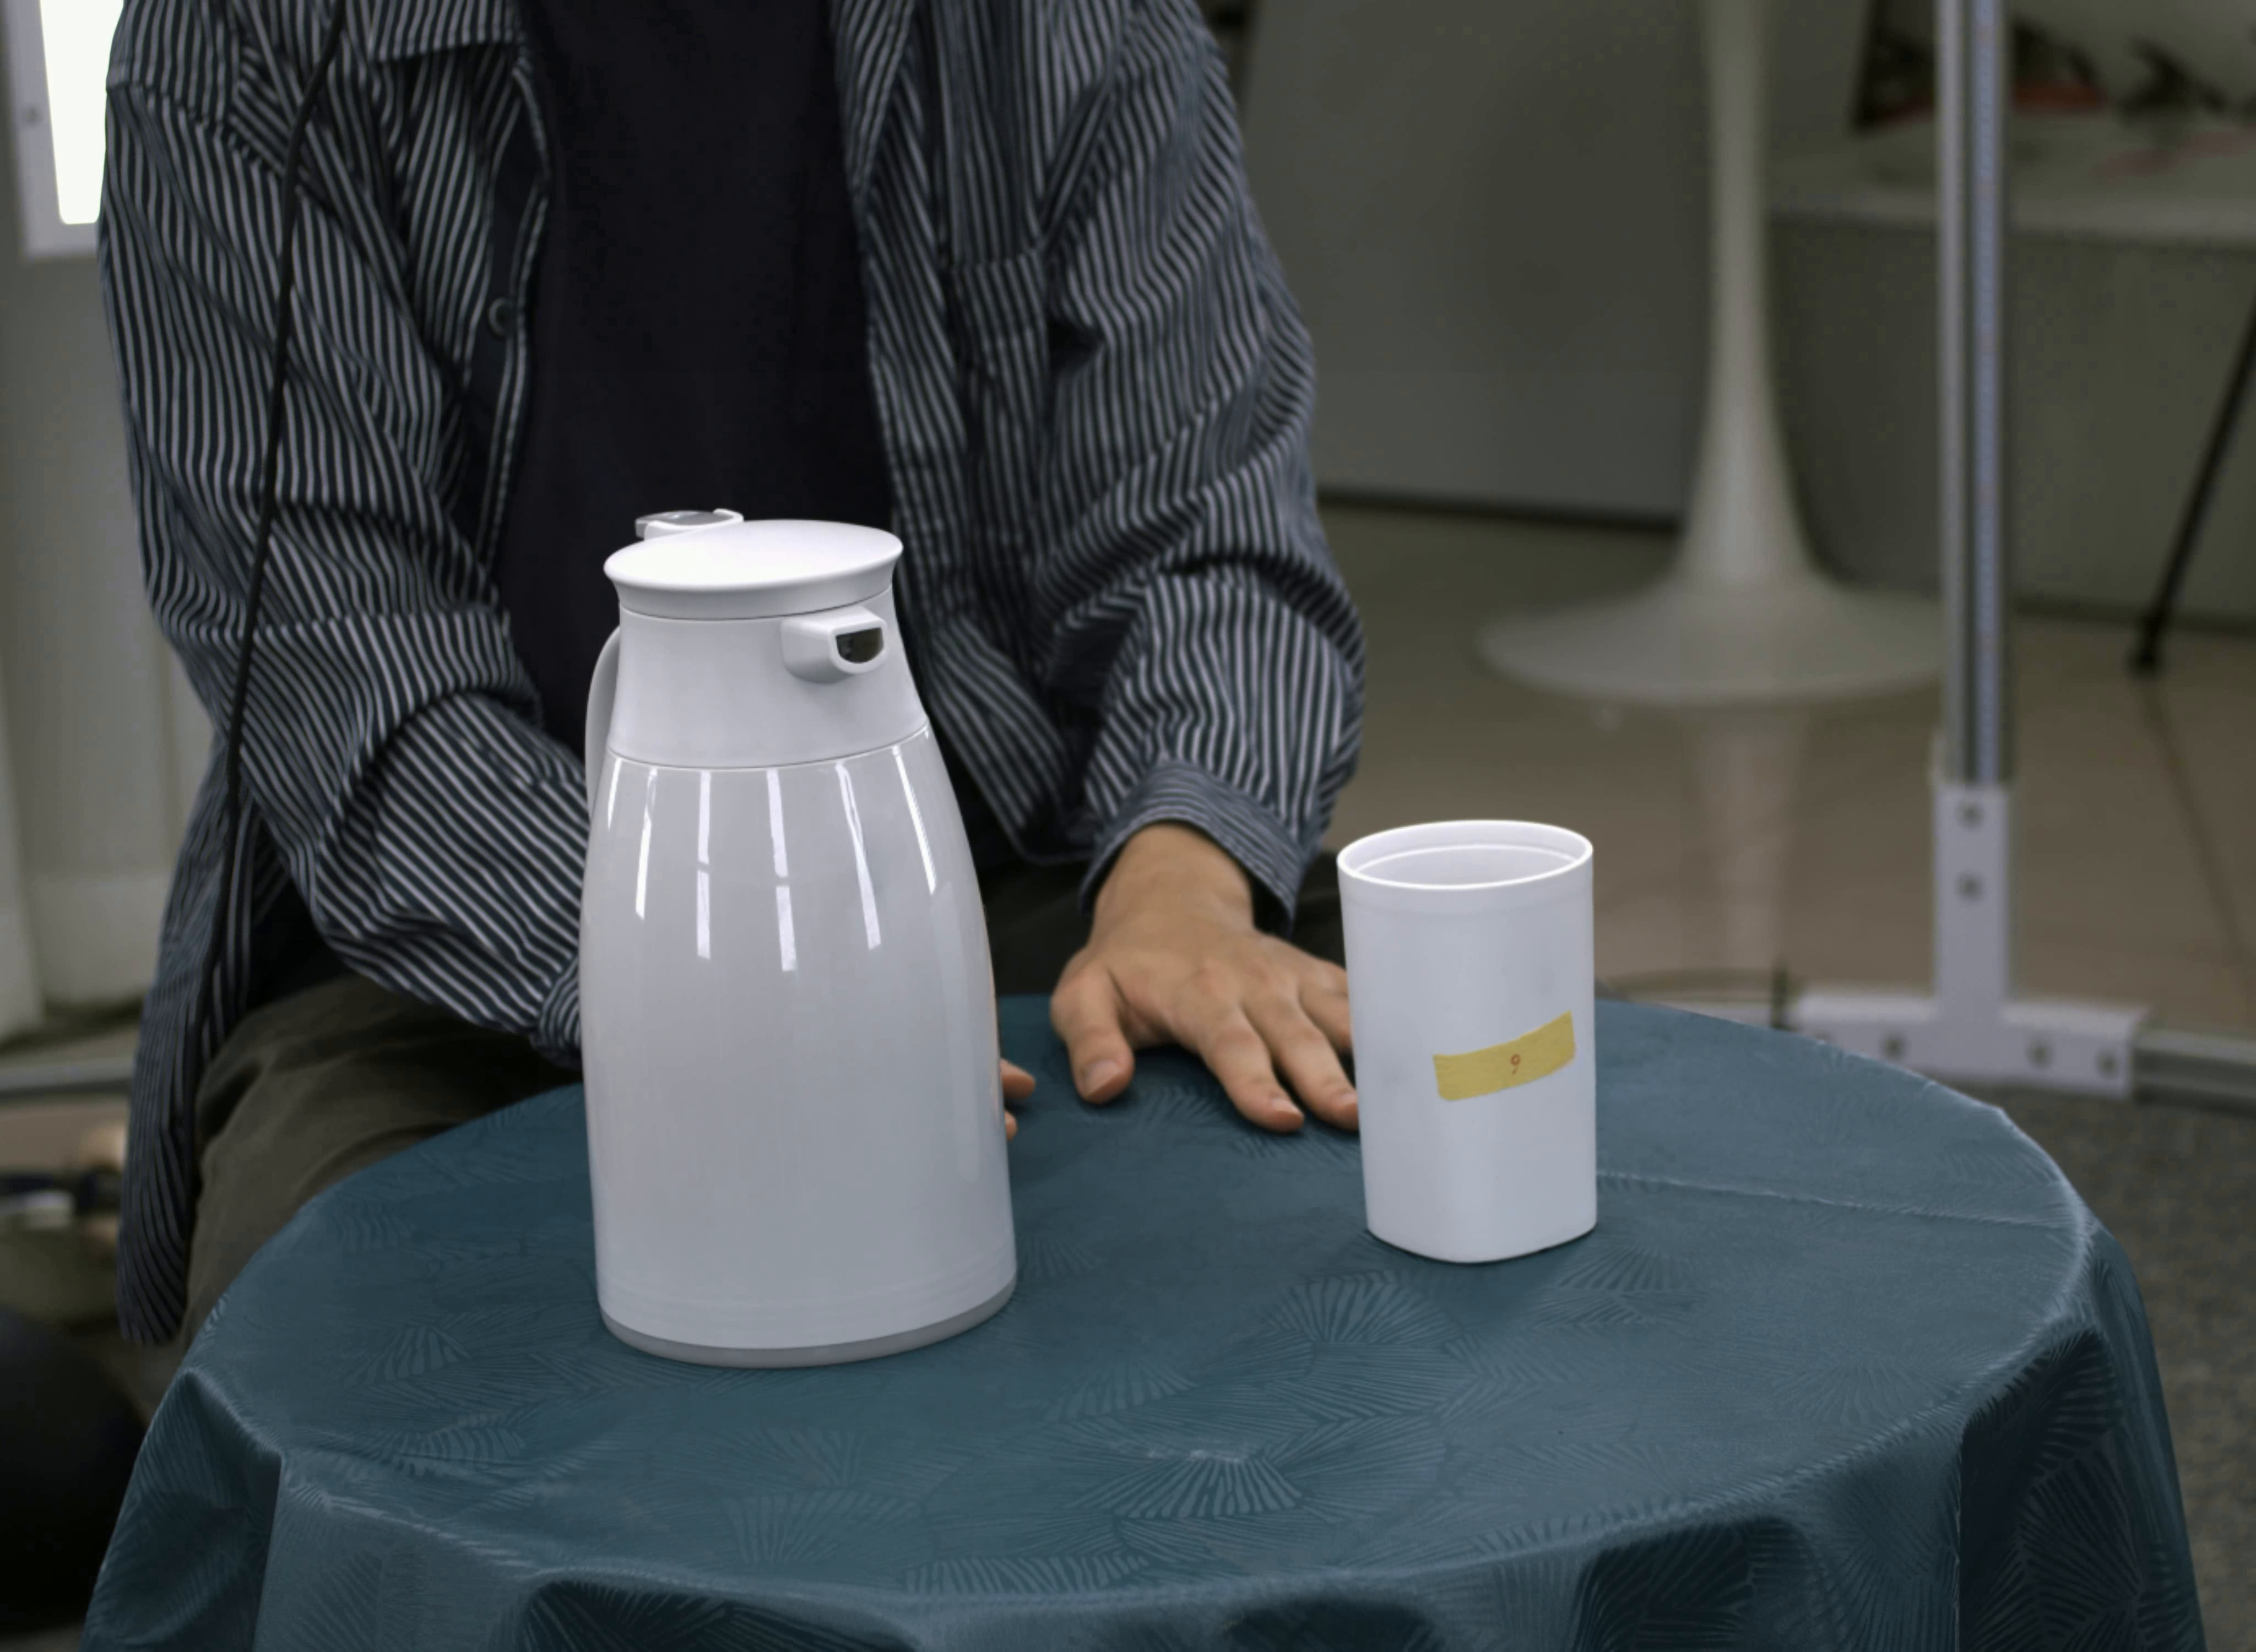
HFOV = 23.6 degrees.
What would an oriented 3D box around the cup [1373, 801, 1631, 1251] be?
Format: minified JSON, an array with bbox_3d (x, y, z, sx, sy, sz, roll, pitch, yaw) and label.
[{"bbox_3d":[0.121,0.063,1.696,0.080,0.127,0.082,-4,13,0],"label":"cup"}]

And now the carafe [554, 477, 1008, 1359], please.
[{"bbox_3d":[-0.121,0.020,1.672,0.130,0.251,0.169,-16,20,-37],"label":"carafe"}]
